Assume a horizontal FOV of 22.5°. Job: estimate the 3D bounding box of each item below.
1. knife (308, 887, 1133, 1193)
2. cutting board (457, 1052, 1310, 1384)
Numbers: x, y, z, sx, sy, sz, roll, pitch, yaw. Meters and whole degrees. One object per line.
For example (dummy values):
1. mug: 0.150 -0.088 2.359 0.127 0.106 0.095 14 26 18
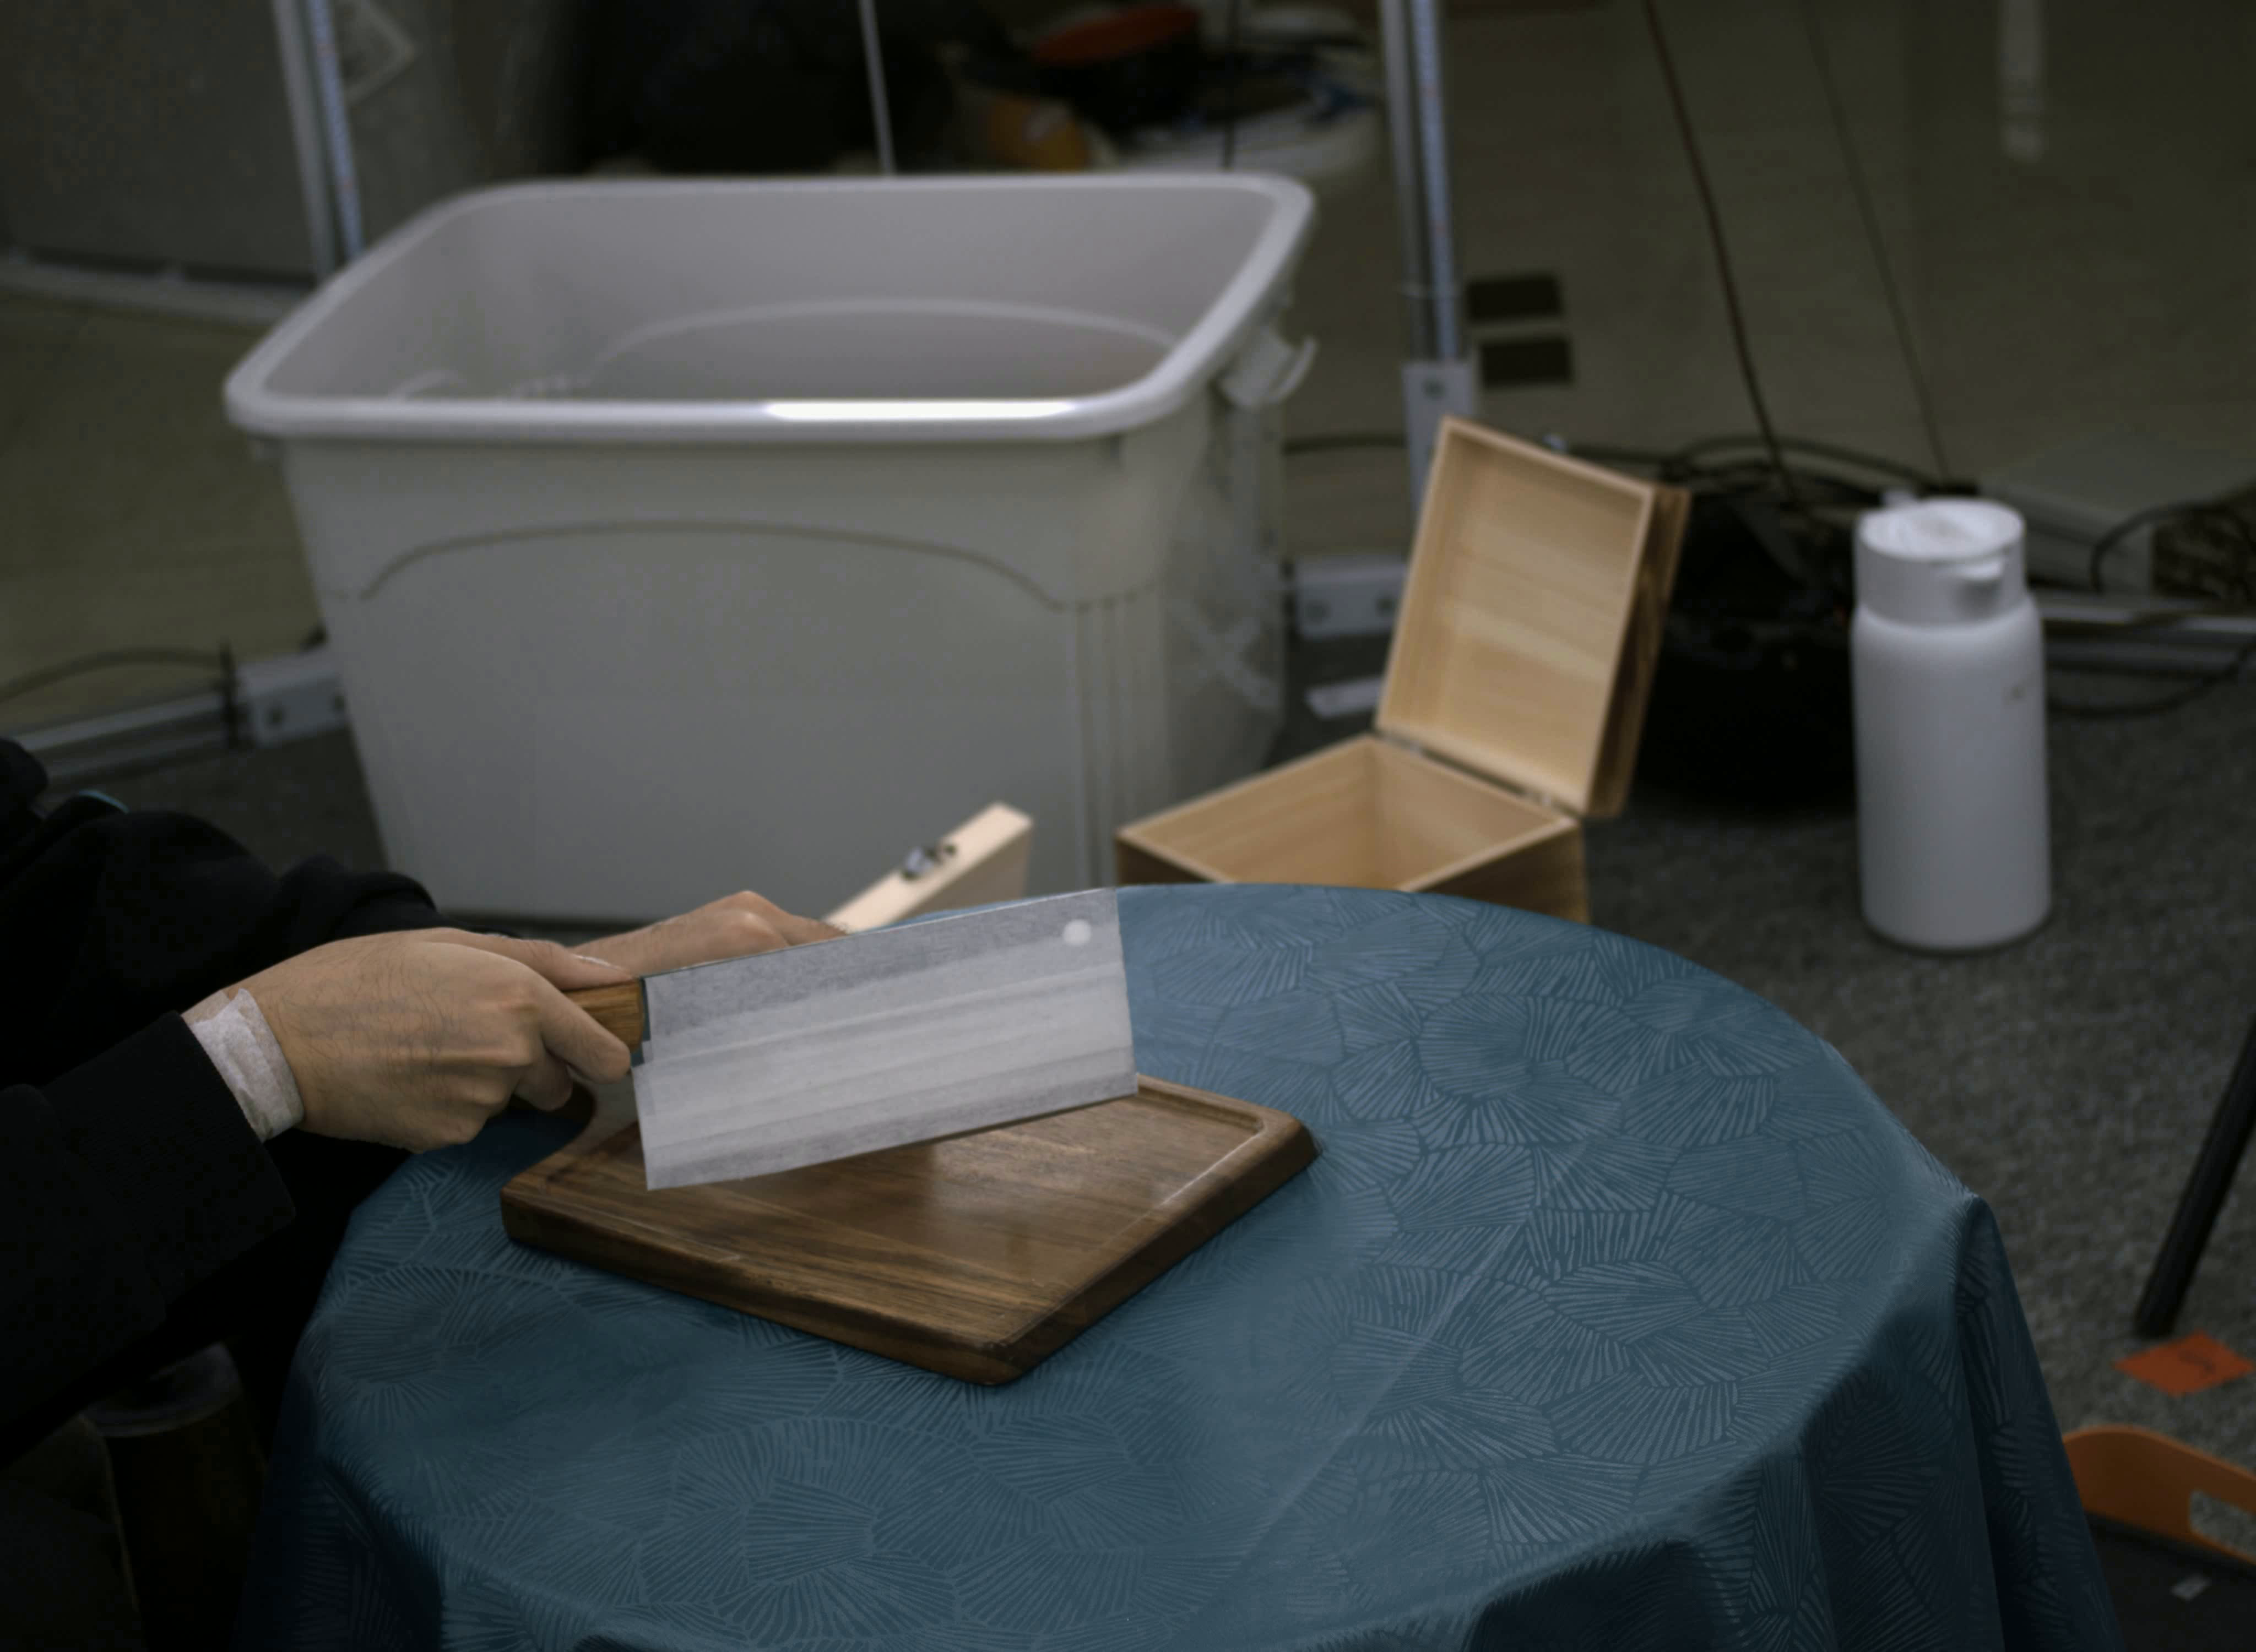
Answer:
1. knife: -0.147 0.089 2.103 0.305 0.094 0.021 -11 26 -9
2. cutting board: -0.124 0.124 2.183 0.350 0.023 0.199 13 31 35
